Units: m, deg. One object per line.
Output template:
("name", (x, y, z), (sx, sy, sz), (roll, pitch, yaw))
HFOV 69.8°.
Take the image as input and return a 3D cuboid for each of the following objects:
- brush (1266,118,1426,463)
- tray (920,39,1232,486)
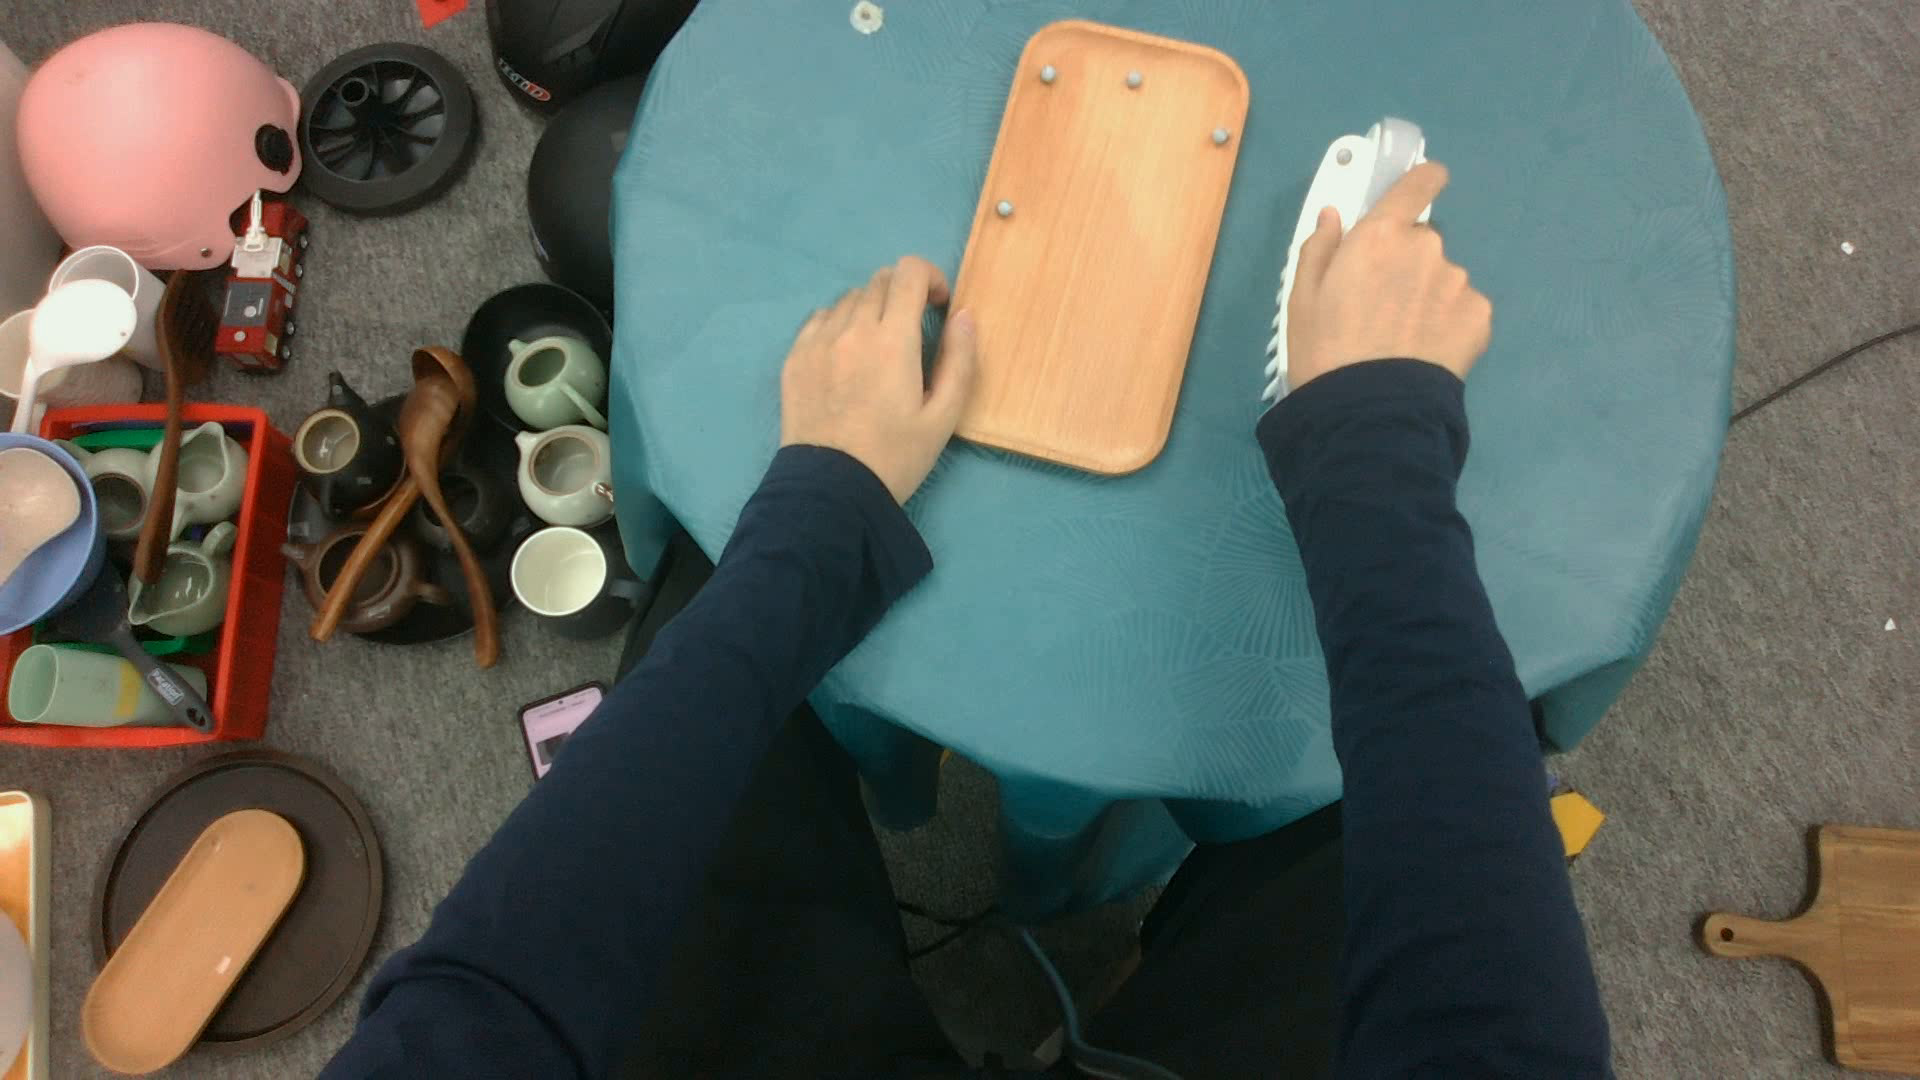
("brush", (0.192, -0.130, 0.695), (0.061, 0.094, 0.176), (18, 78, 6))
("tray", (0.065, -0.153, 0.745), (0.130, 0.023, 0.251), (13, 76, 8))
